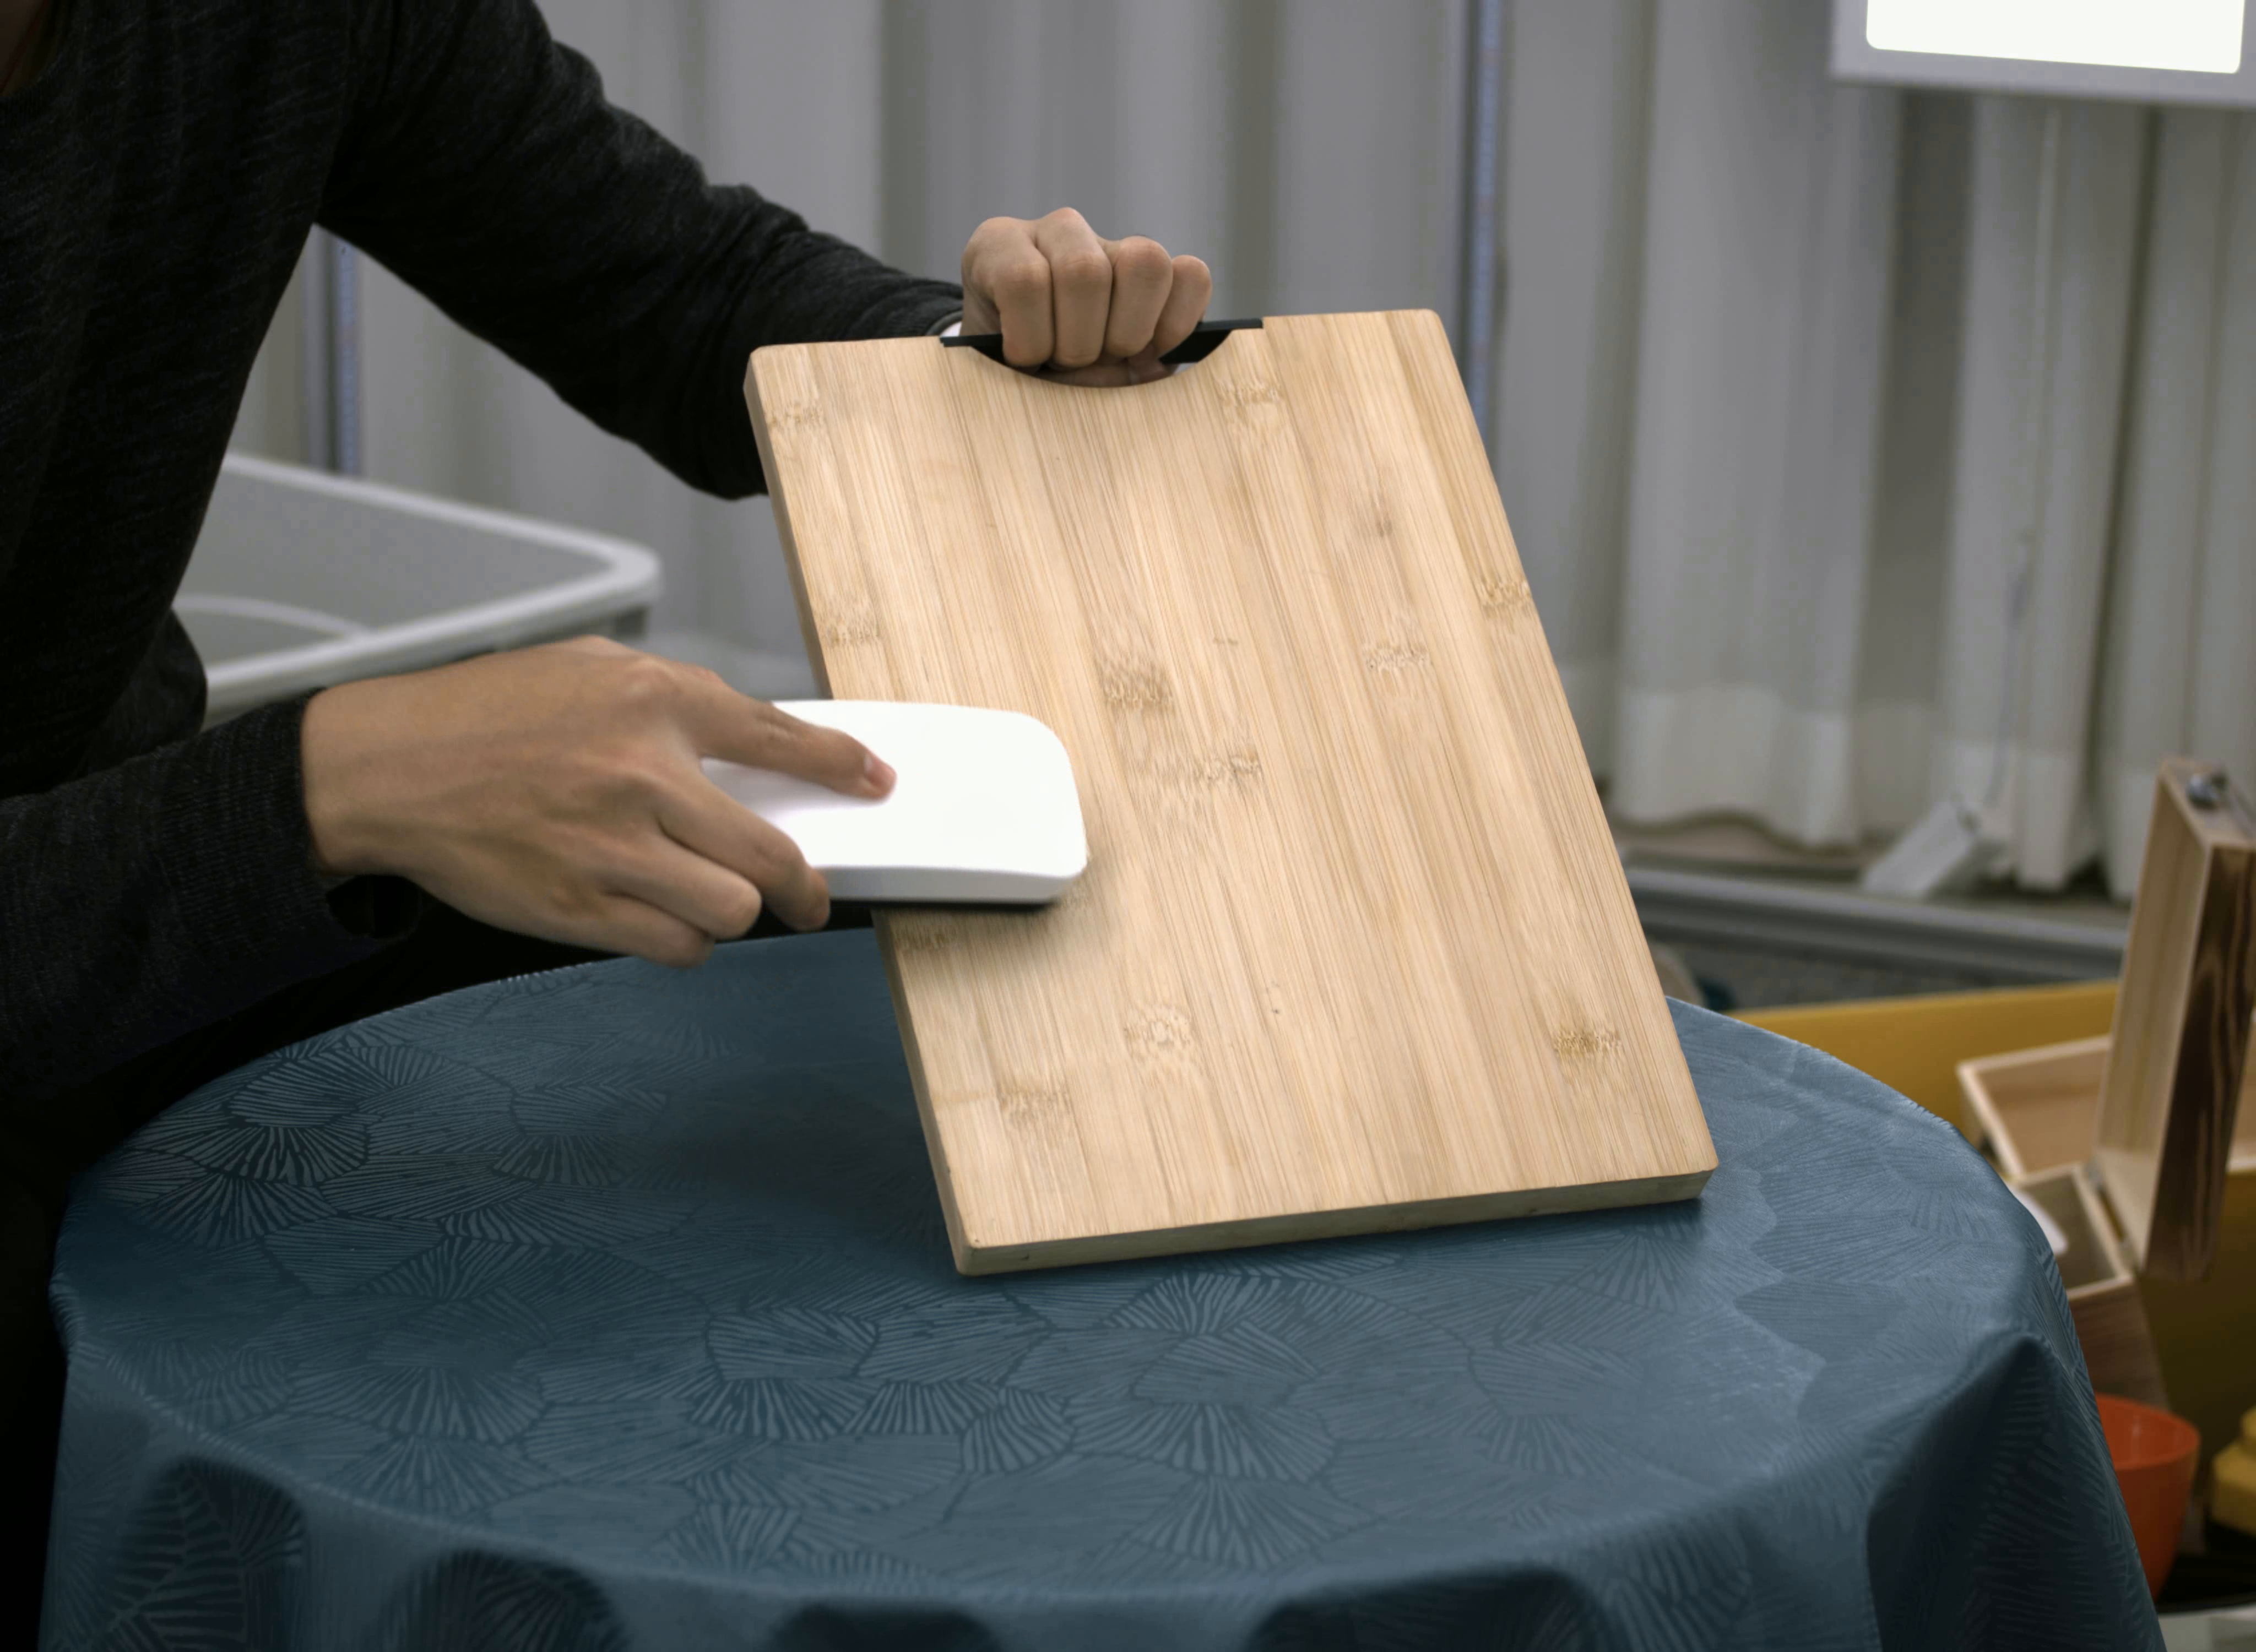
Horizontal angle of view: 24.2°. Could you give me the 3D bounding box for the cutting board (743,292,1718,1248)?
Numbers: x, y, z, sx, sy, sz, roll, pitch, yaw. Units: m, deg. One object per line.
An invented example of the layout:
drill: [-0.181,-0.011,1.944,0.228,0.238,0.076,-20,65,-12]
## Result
cutting board: [0.027,-0.025,1.665,0.251,0.024,0.345,-5,58,-18]

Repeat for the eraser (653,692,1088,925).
eraser: [-0.078,-0.004,1.583,0.132,0.034,0.063,3,54,-24]
